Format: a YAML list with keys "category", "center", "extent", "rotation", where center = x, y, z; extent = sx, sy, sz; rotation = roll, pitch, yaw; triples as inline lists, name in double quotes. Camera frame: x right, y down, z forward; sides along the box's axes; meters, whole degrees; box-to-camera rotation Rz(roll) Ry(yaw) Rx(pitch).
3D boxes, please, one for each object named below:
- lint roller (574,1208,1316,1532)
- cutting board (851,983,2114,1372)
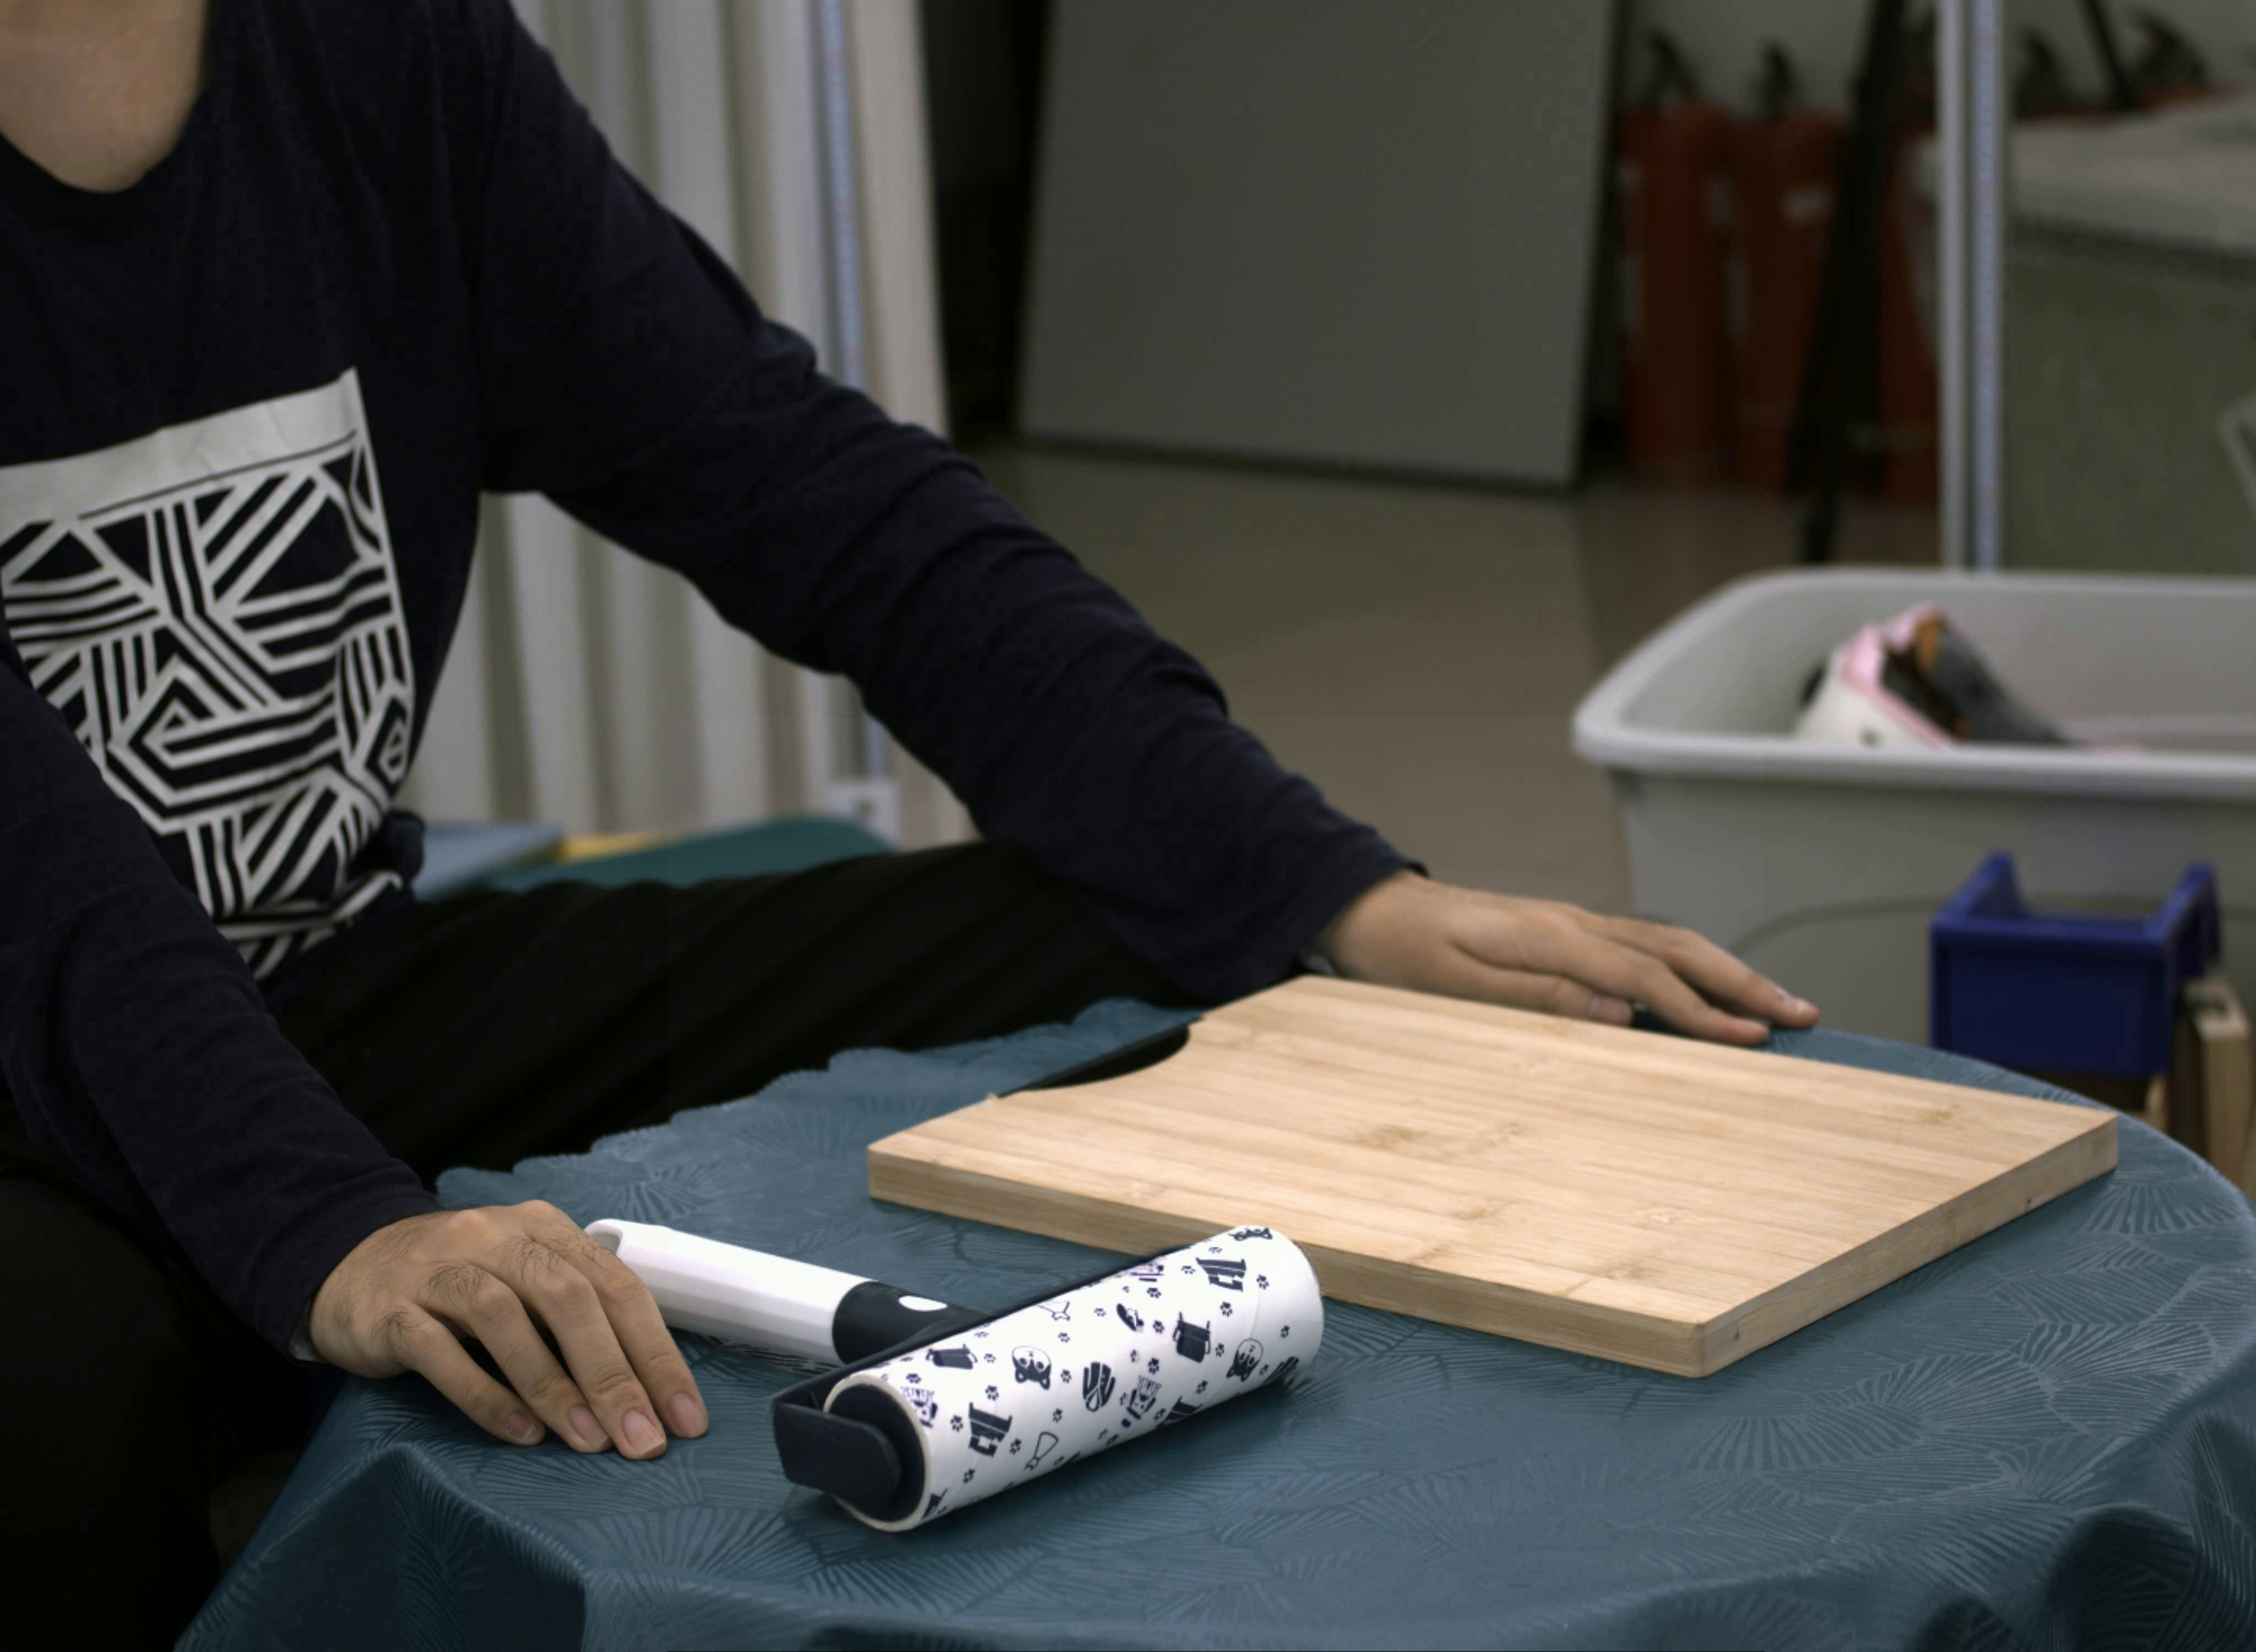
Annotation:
- category: "lint roller"
  center: [-0.086, 0.147, 1.608]
  extent: [0.173, 0.051, 0.249]
  rotation: [-18, 17, -42]
- category: "cutting board"
  center: [0.112, 0.109, 1.759]
  extent: [0.351, 0.024, 0.246]
  rotation: [8, 17, 41]
